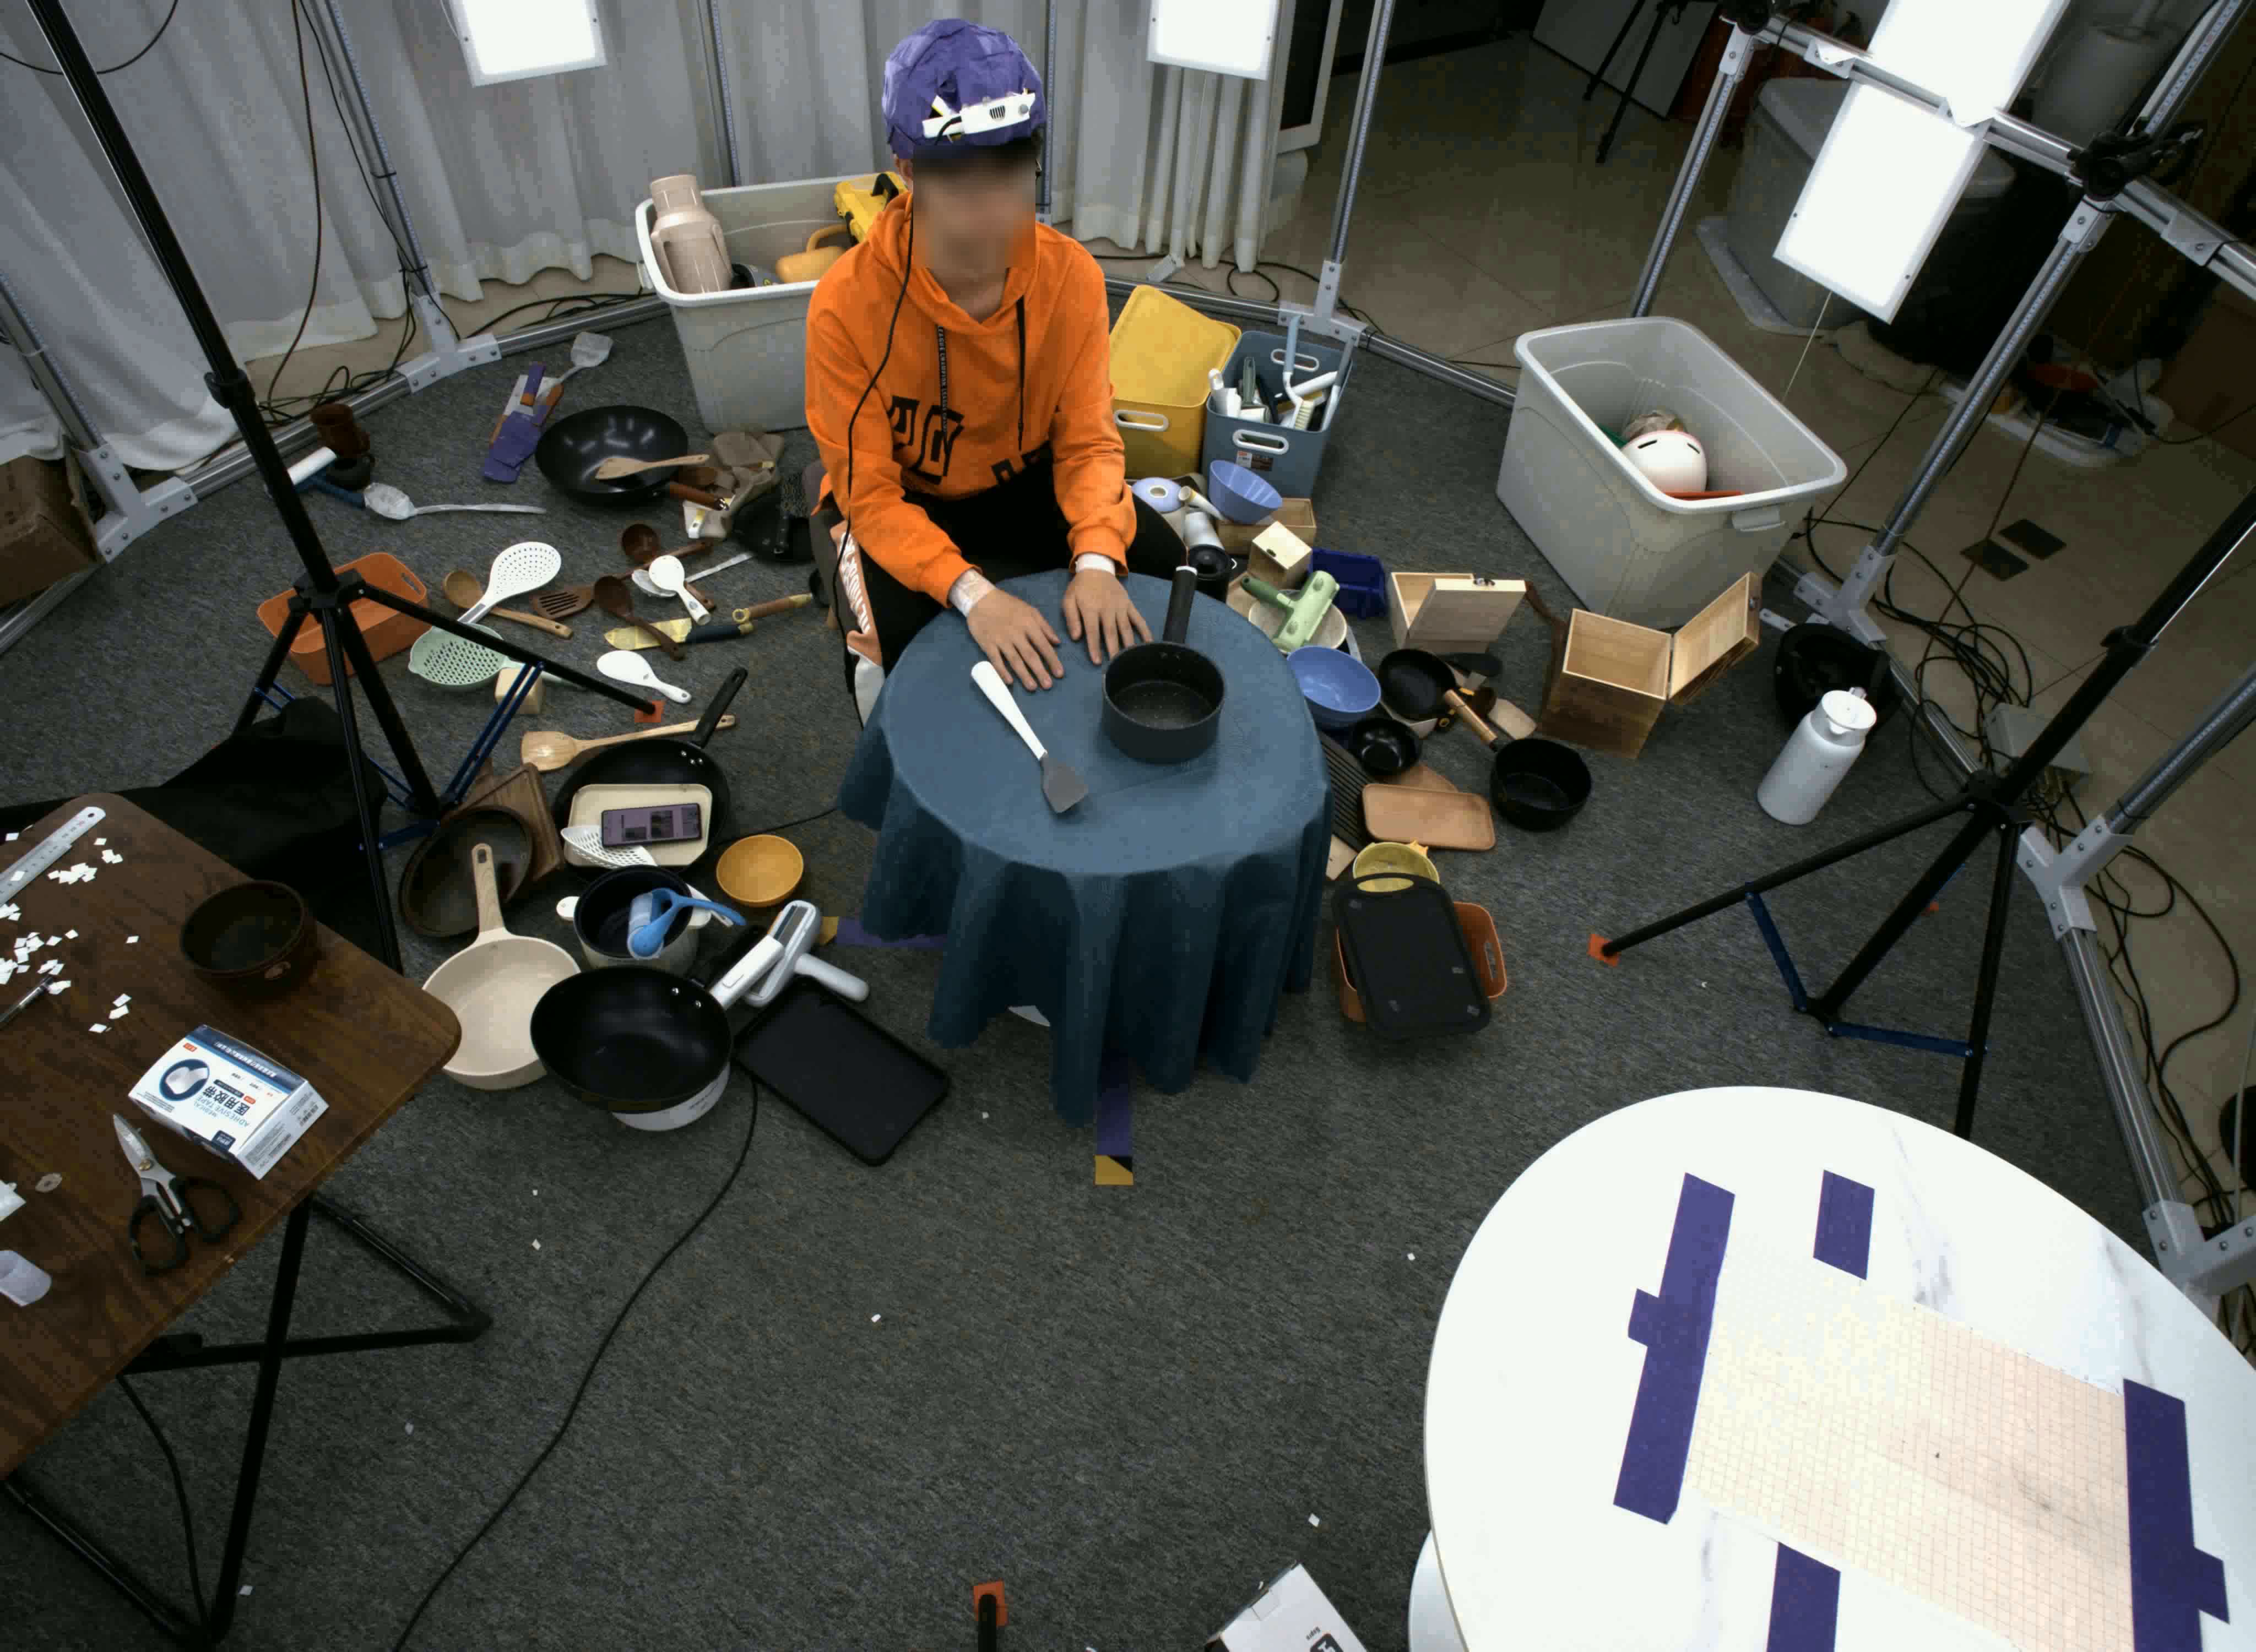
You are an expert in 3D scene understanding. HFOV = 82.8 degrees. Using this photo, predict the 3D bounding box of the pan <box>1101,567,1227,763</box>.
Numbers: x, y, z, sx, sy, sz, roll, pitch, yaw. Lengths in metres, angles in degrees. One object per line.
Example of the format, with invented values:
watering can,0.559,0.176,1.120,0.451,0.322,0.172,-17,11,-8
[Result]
pan,0.063,-0.232,1.820,0.172,0.084,0.336,11,51,5

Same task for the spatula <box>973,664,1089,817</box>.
spatula,-0.136,-0.120,1.743,0.059,0.031,0.294,-34,56,-2
